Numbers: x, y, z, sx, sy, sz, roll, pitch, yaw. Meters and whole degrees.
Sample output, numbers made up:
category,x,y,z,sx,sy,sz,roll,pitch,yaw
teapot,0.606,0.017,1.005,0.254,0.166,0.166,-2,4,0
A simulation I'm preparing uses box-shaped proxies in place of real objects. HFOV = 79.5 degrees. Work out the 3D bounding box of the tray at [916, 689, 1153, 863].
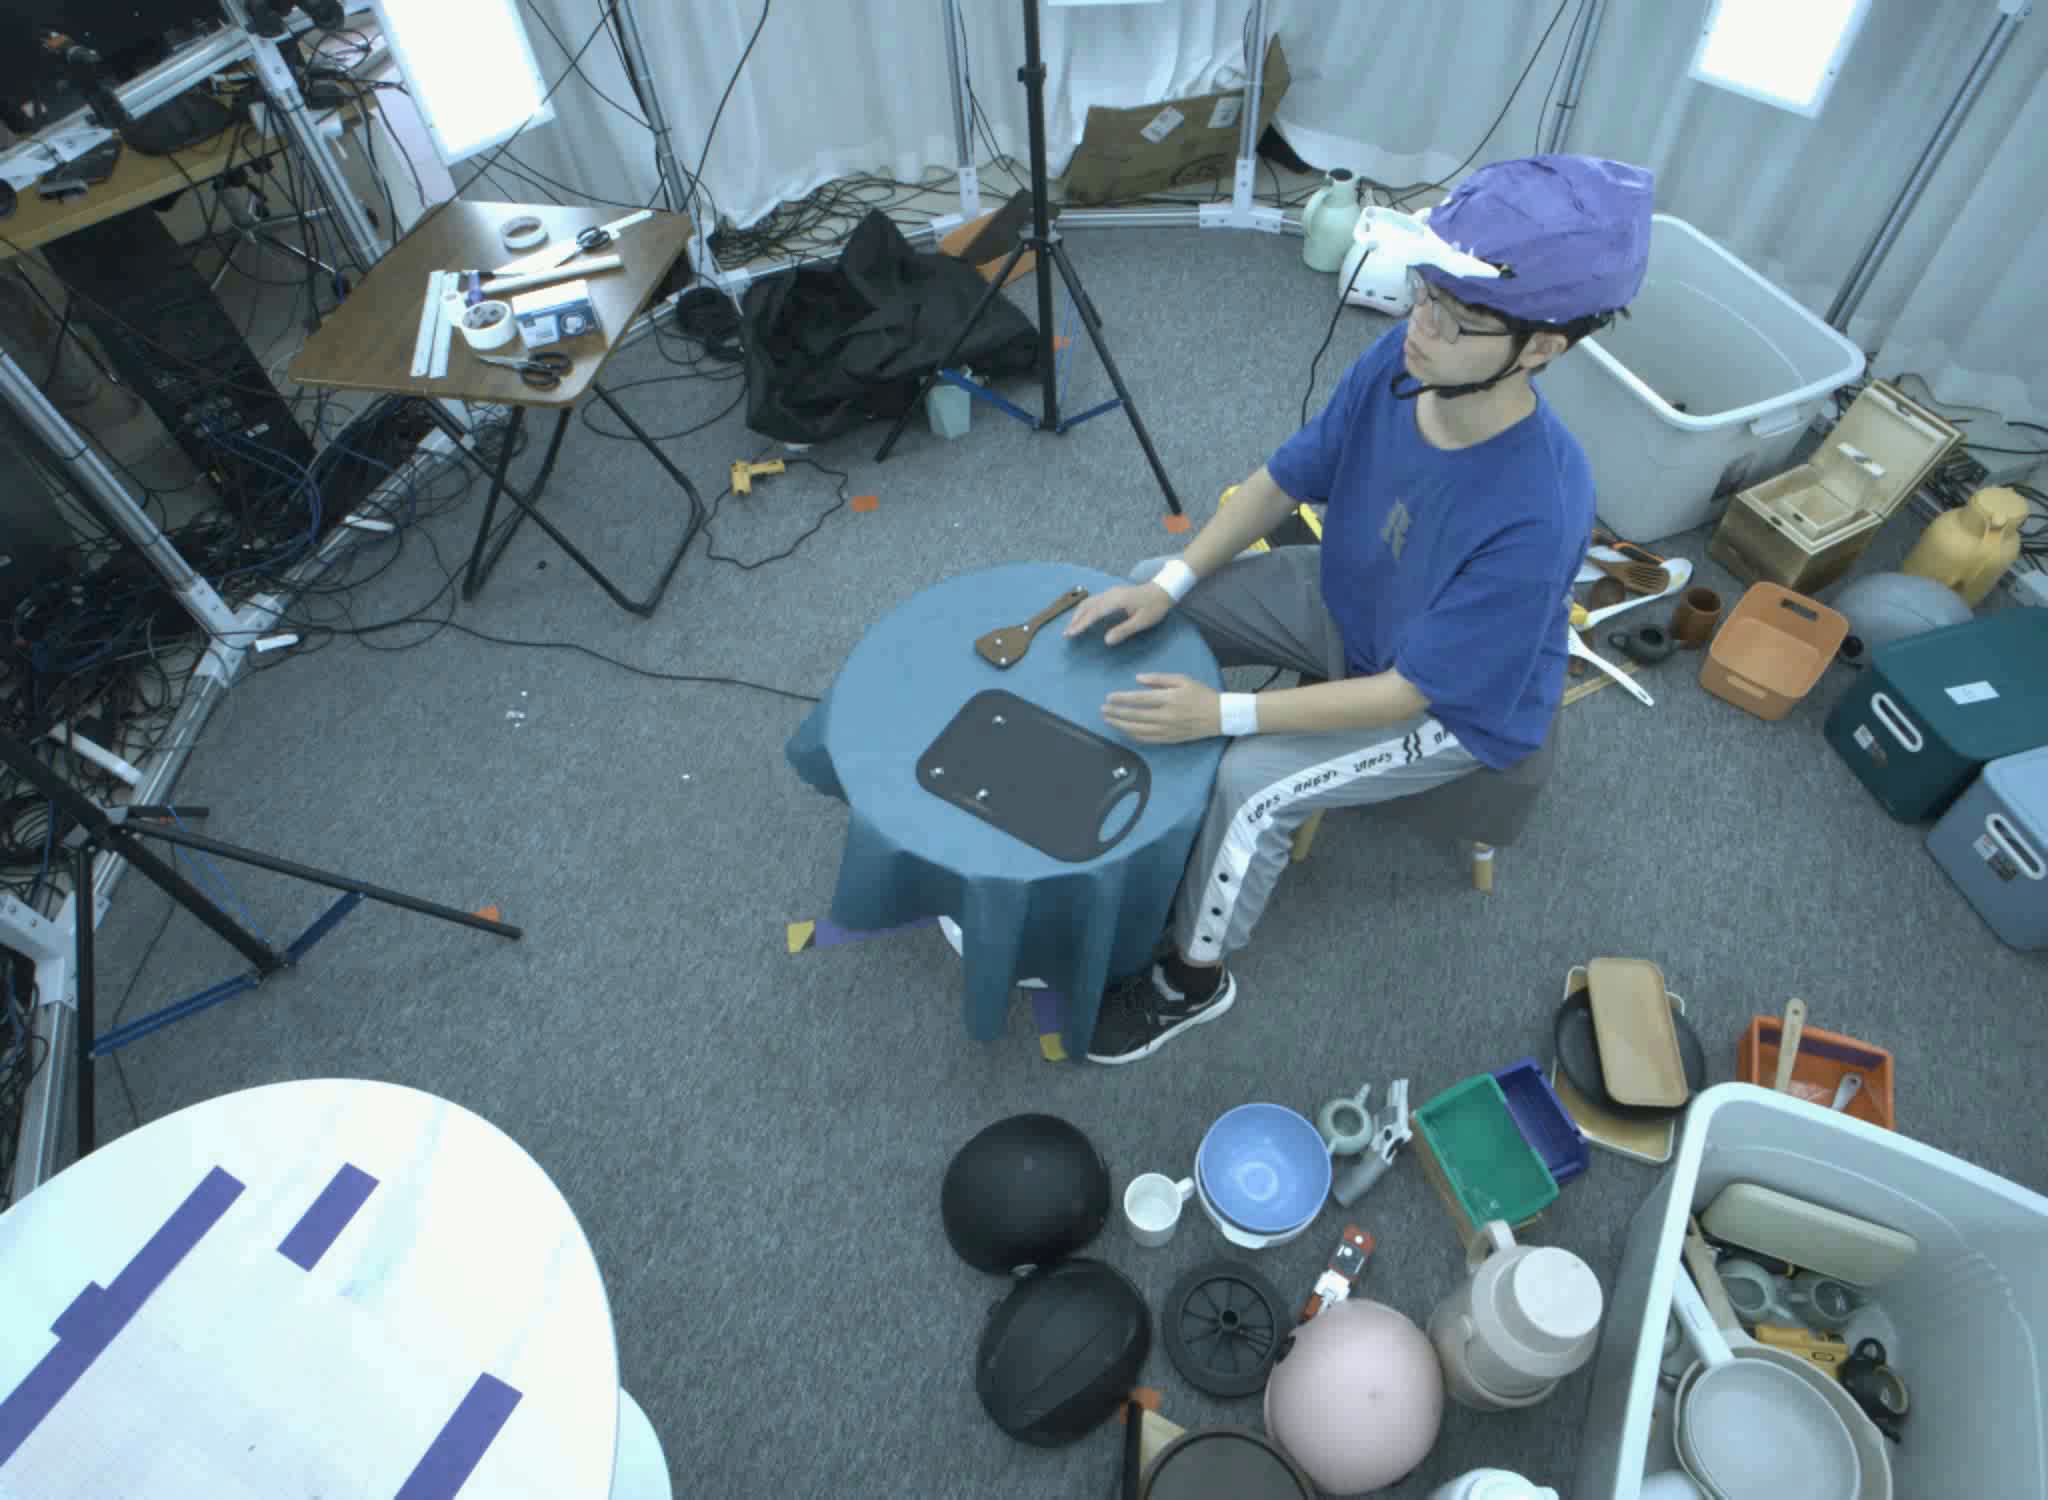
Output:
category,x,y,z,sx,sy,sz,roll,pitch,yaw
tray,0.020,0.033,1.749,0.320,0.010,0.212,27,60,20

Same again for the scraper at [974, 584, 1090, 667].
category,x,y,z,sx,sy,sz,roll,pitch,yaw
scraper,0.019,-0.200,1.915,0.213,0.011,0.074,-37,62,-23
